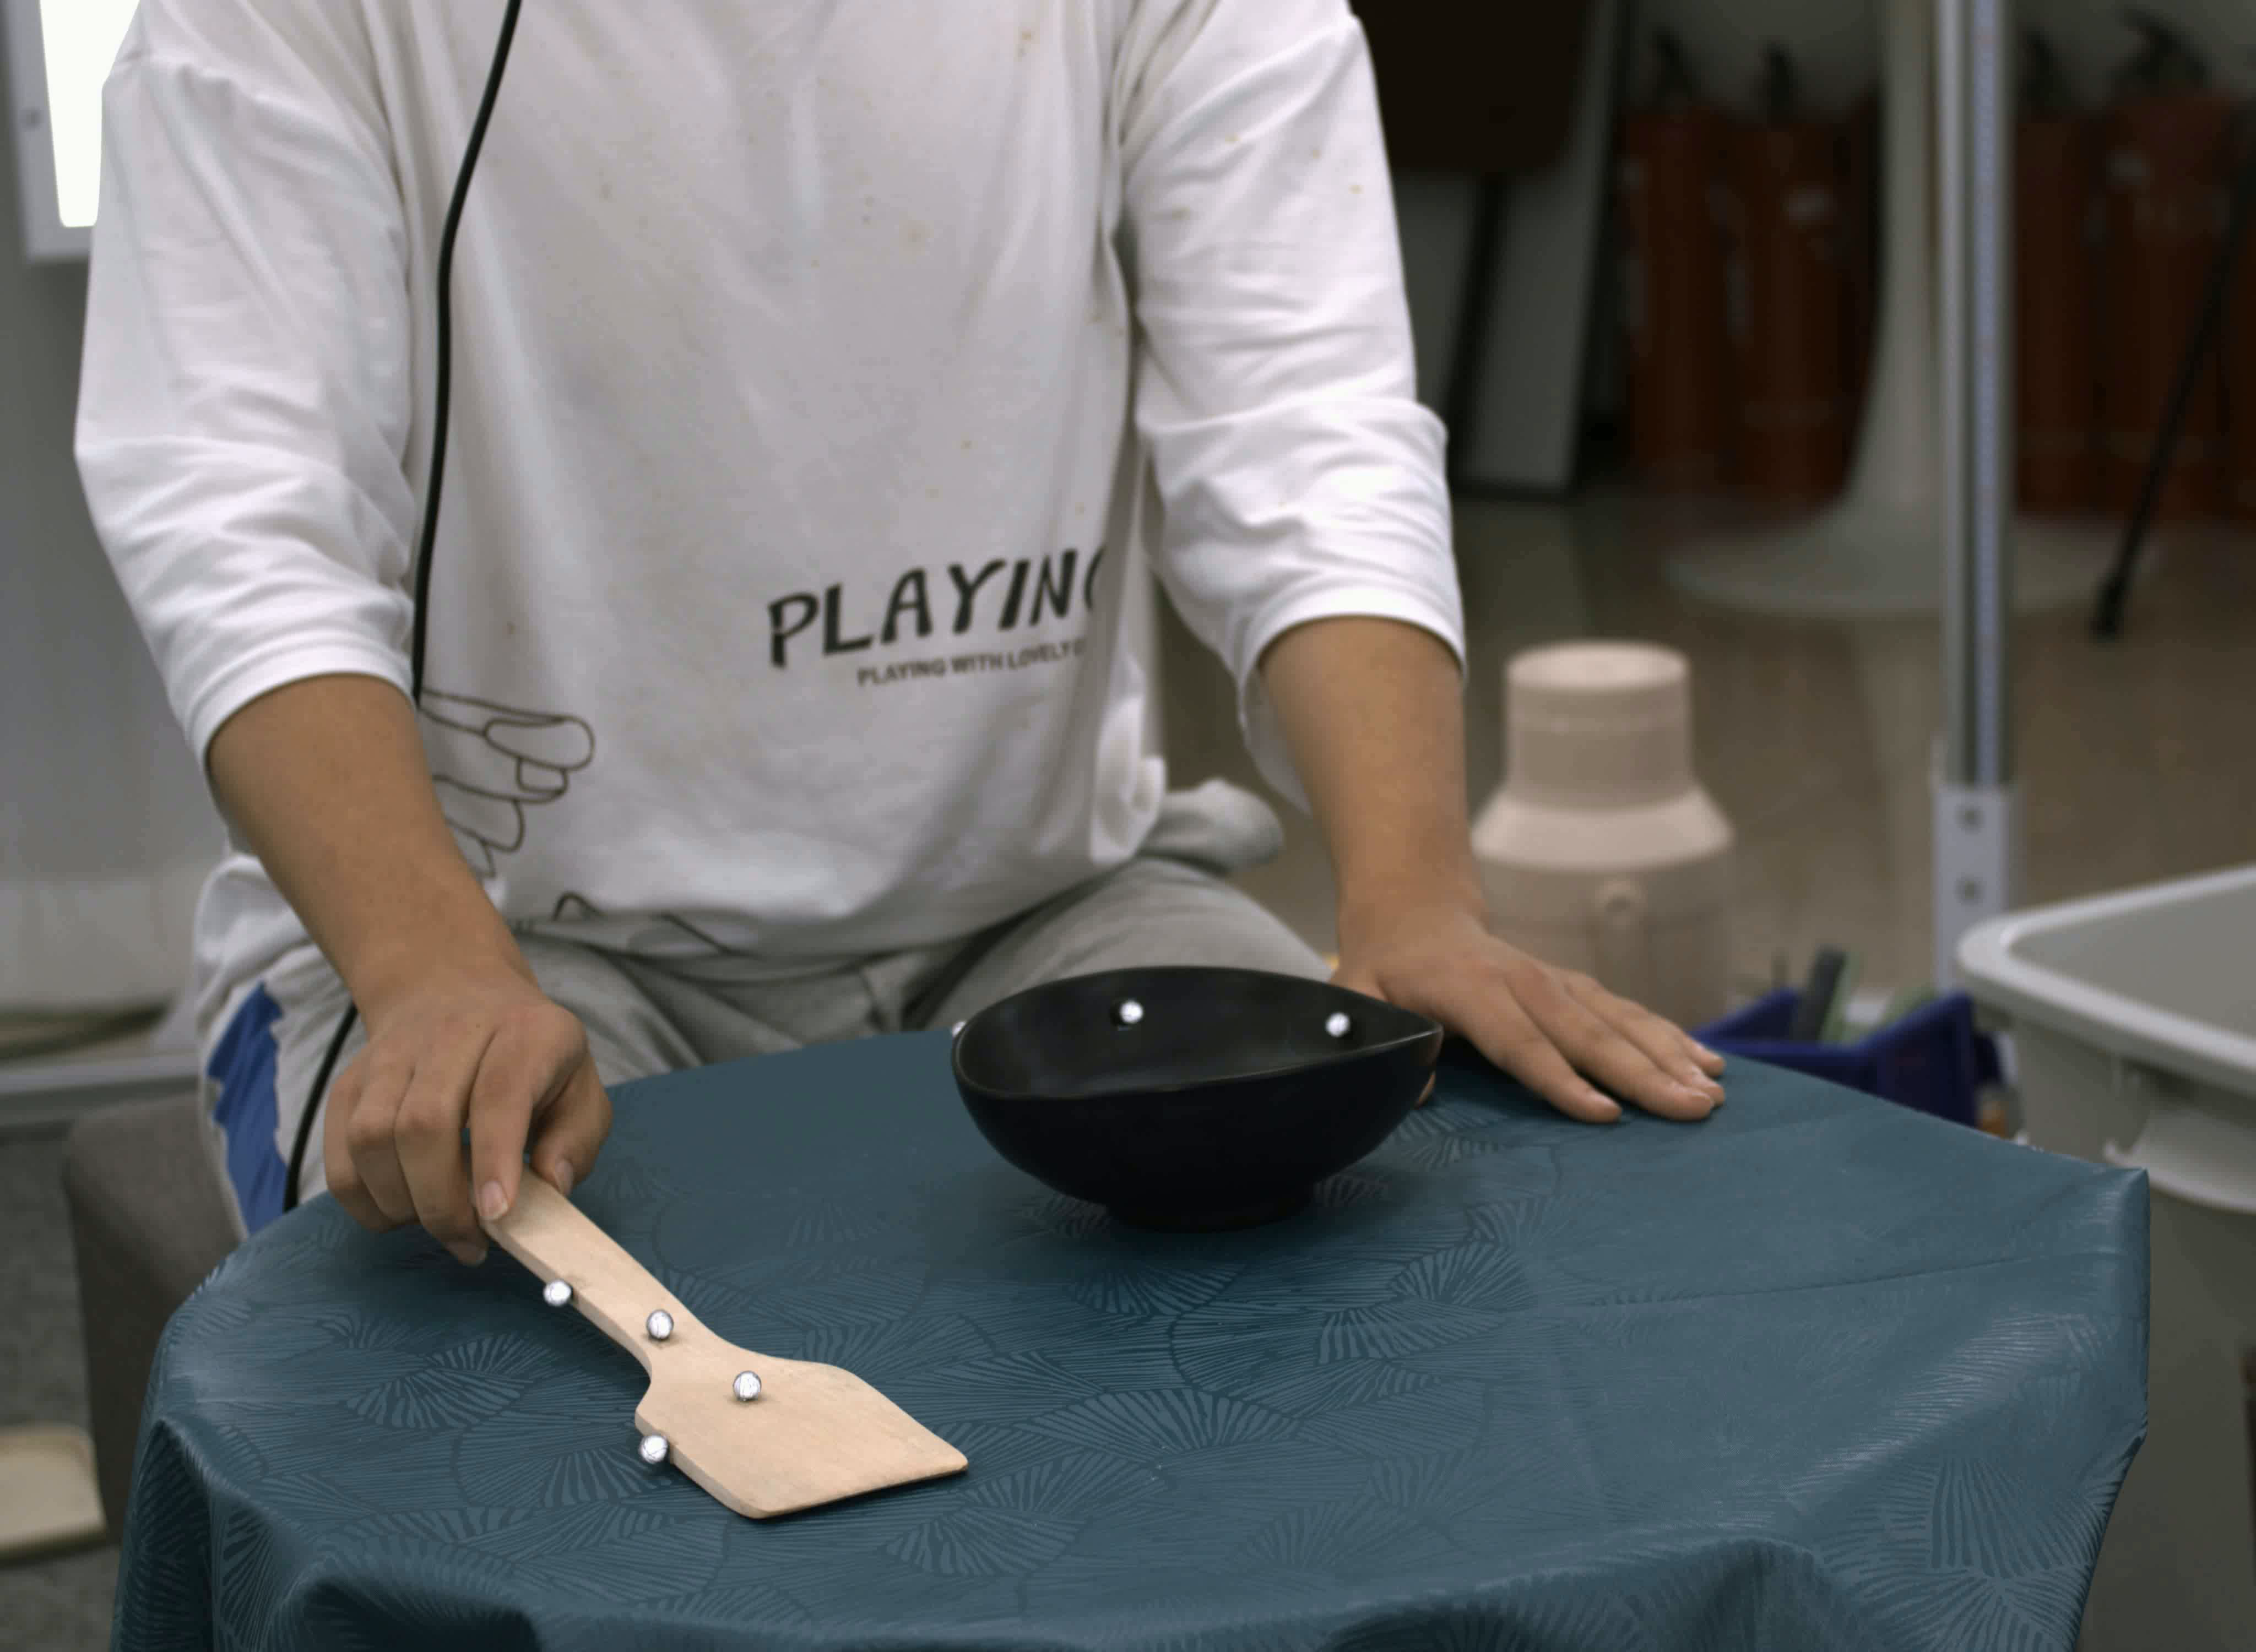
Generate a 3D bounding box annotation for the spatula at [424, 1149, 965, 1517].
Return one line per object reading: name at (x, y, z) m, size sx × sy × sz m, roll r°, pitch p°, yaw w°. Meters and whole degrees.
spatula at (-0.146, 0.149, 1.634) m, size 0.070 × 0.011 × 0.296 m, roll -11°, pitch 21°, yaw -28°

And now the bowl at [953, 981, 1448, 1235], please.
bowl at (0.024, 0.093, 1.751) m, size 0.166 × 0.067 × 0.139 m, roll -9°, pitch 13°, yaw -29°
